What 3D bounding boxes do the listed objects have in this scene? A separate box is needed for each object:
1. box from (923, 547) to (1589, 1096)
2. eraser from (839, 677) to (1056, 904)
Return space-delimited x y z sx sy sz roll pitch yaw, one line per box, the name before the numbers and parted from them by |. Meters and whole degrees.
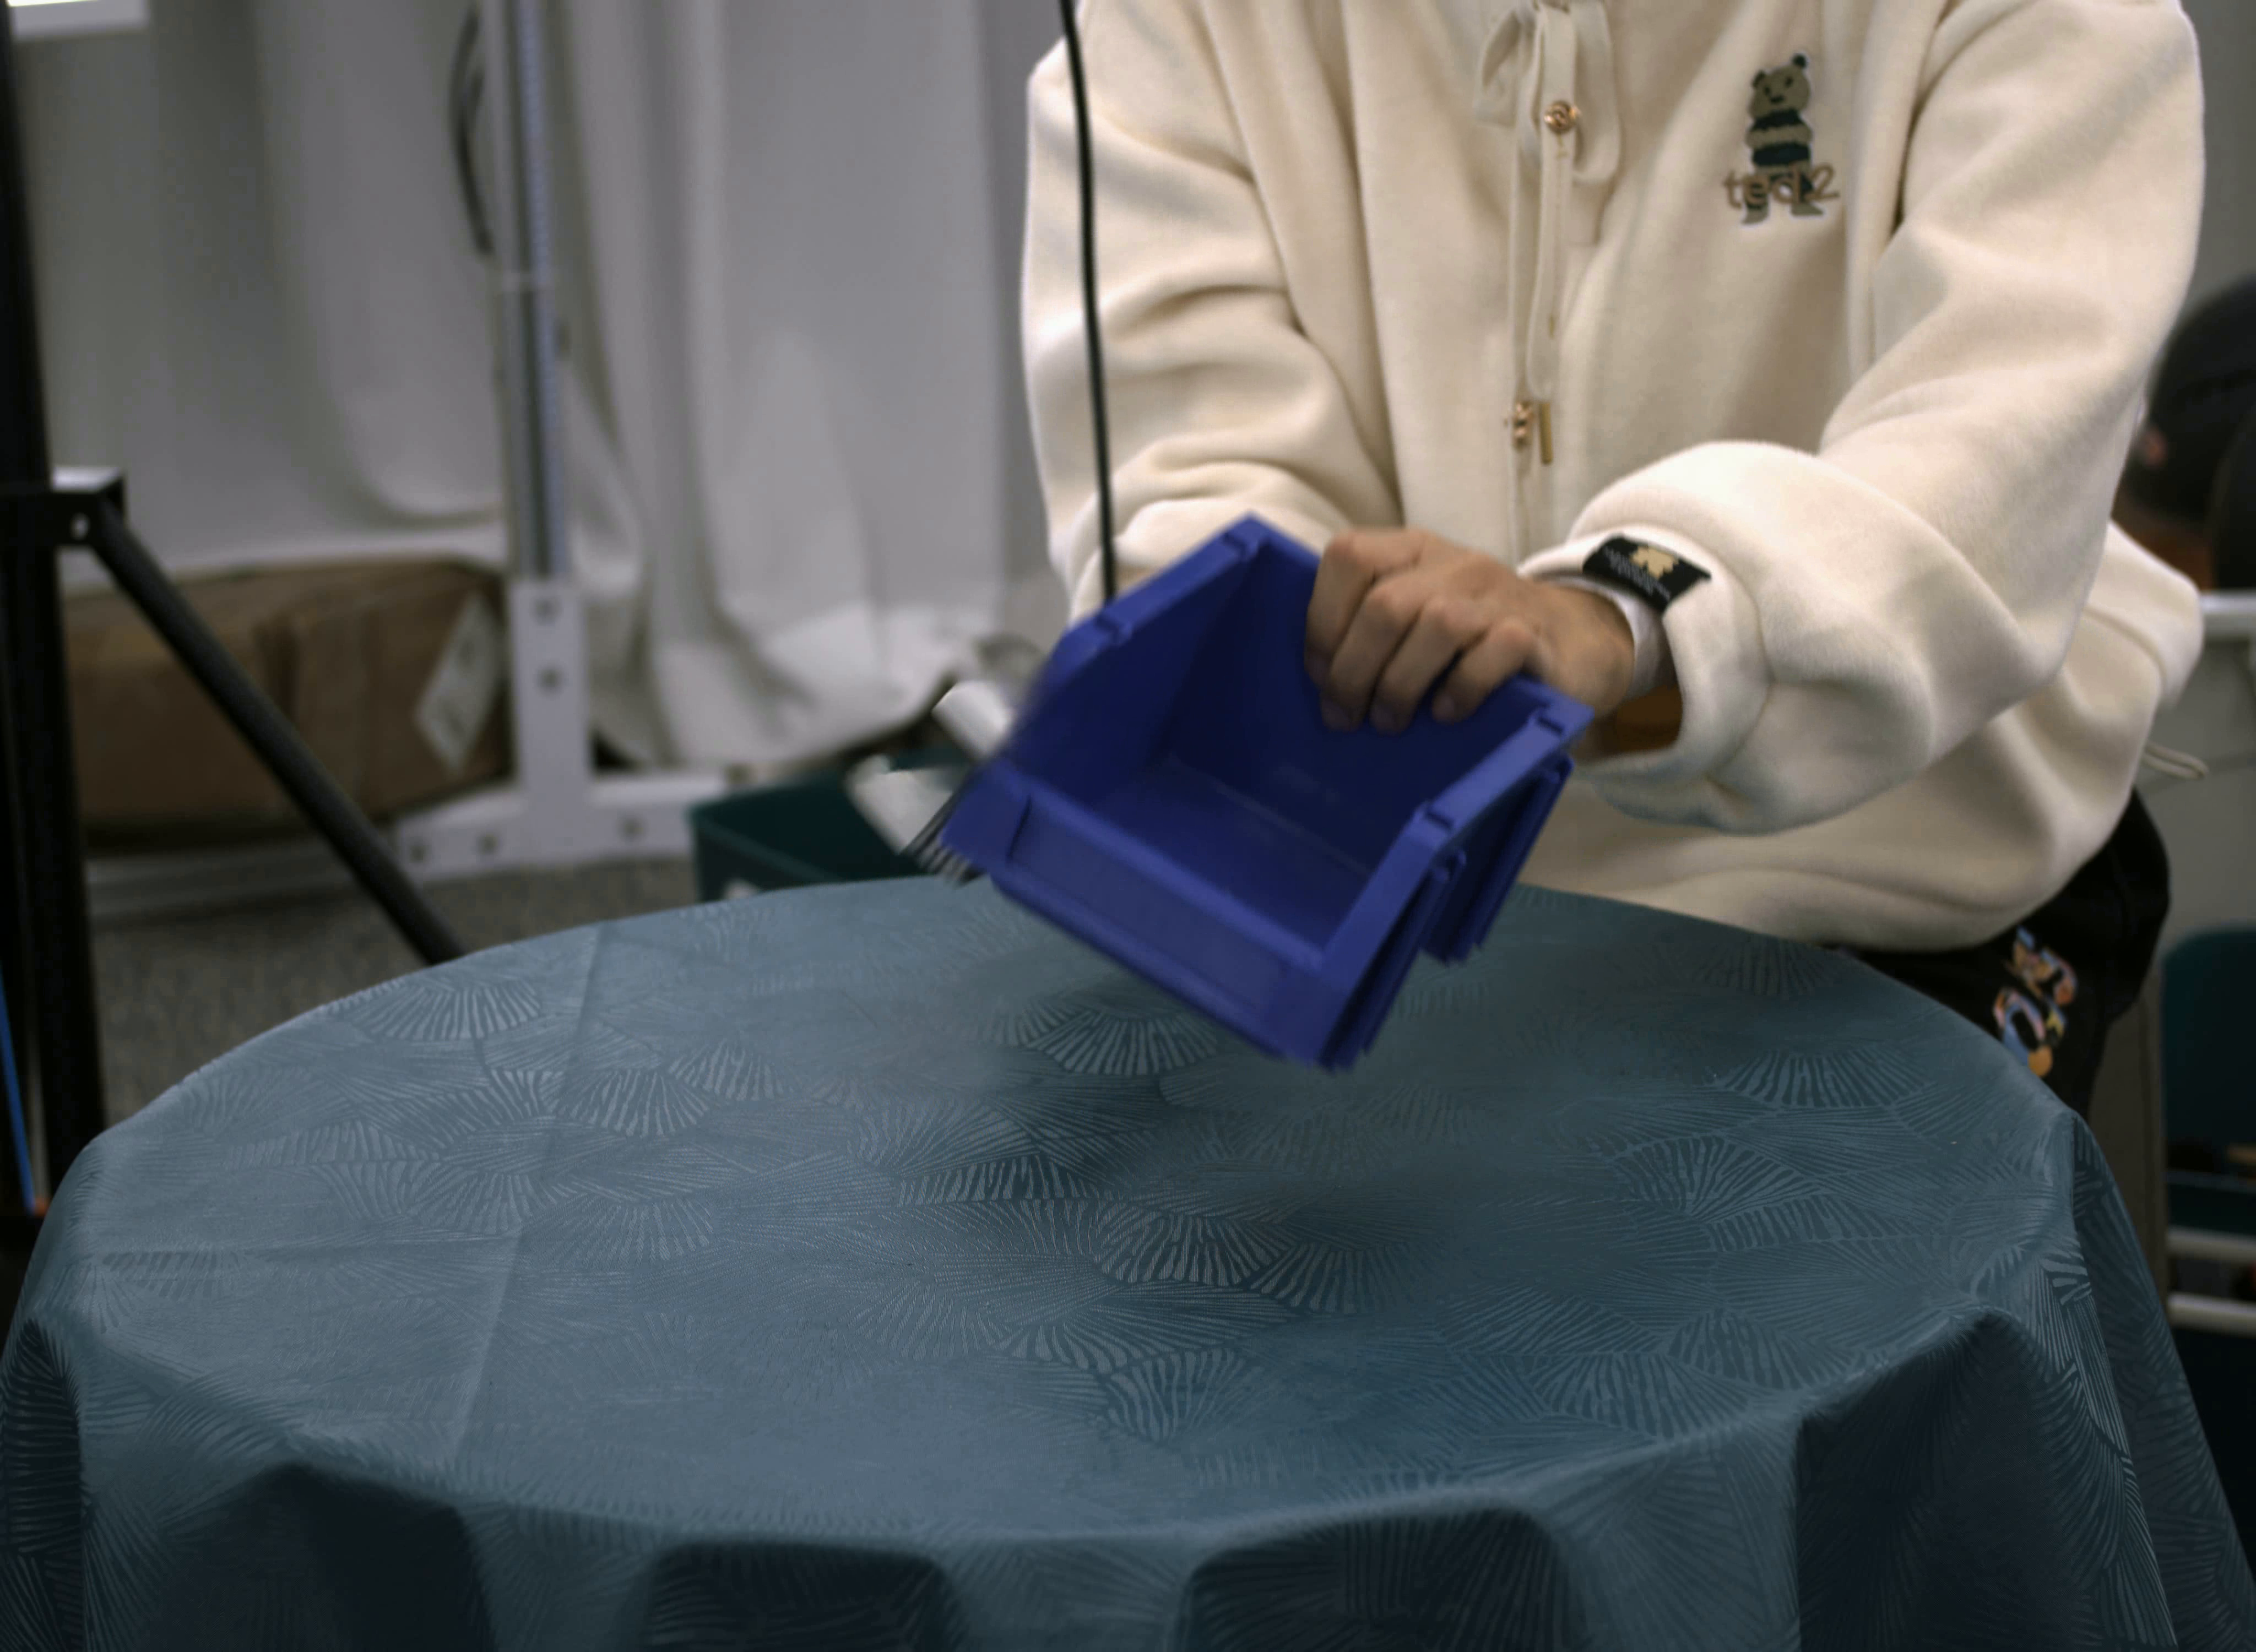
box | 0.038 0.001 1.486 0.126 0.082 0.177 31 22 14
eraser | -0.035 -0.013 1.655 0.047 0.050 0.132 45 19 10
